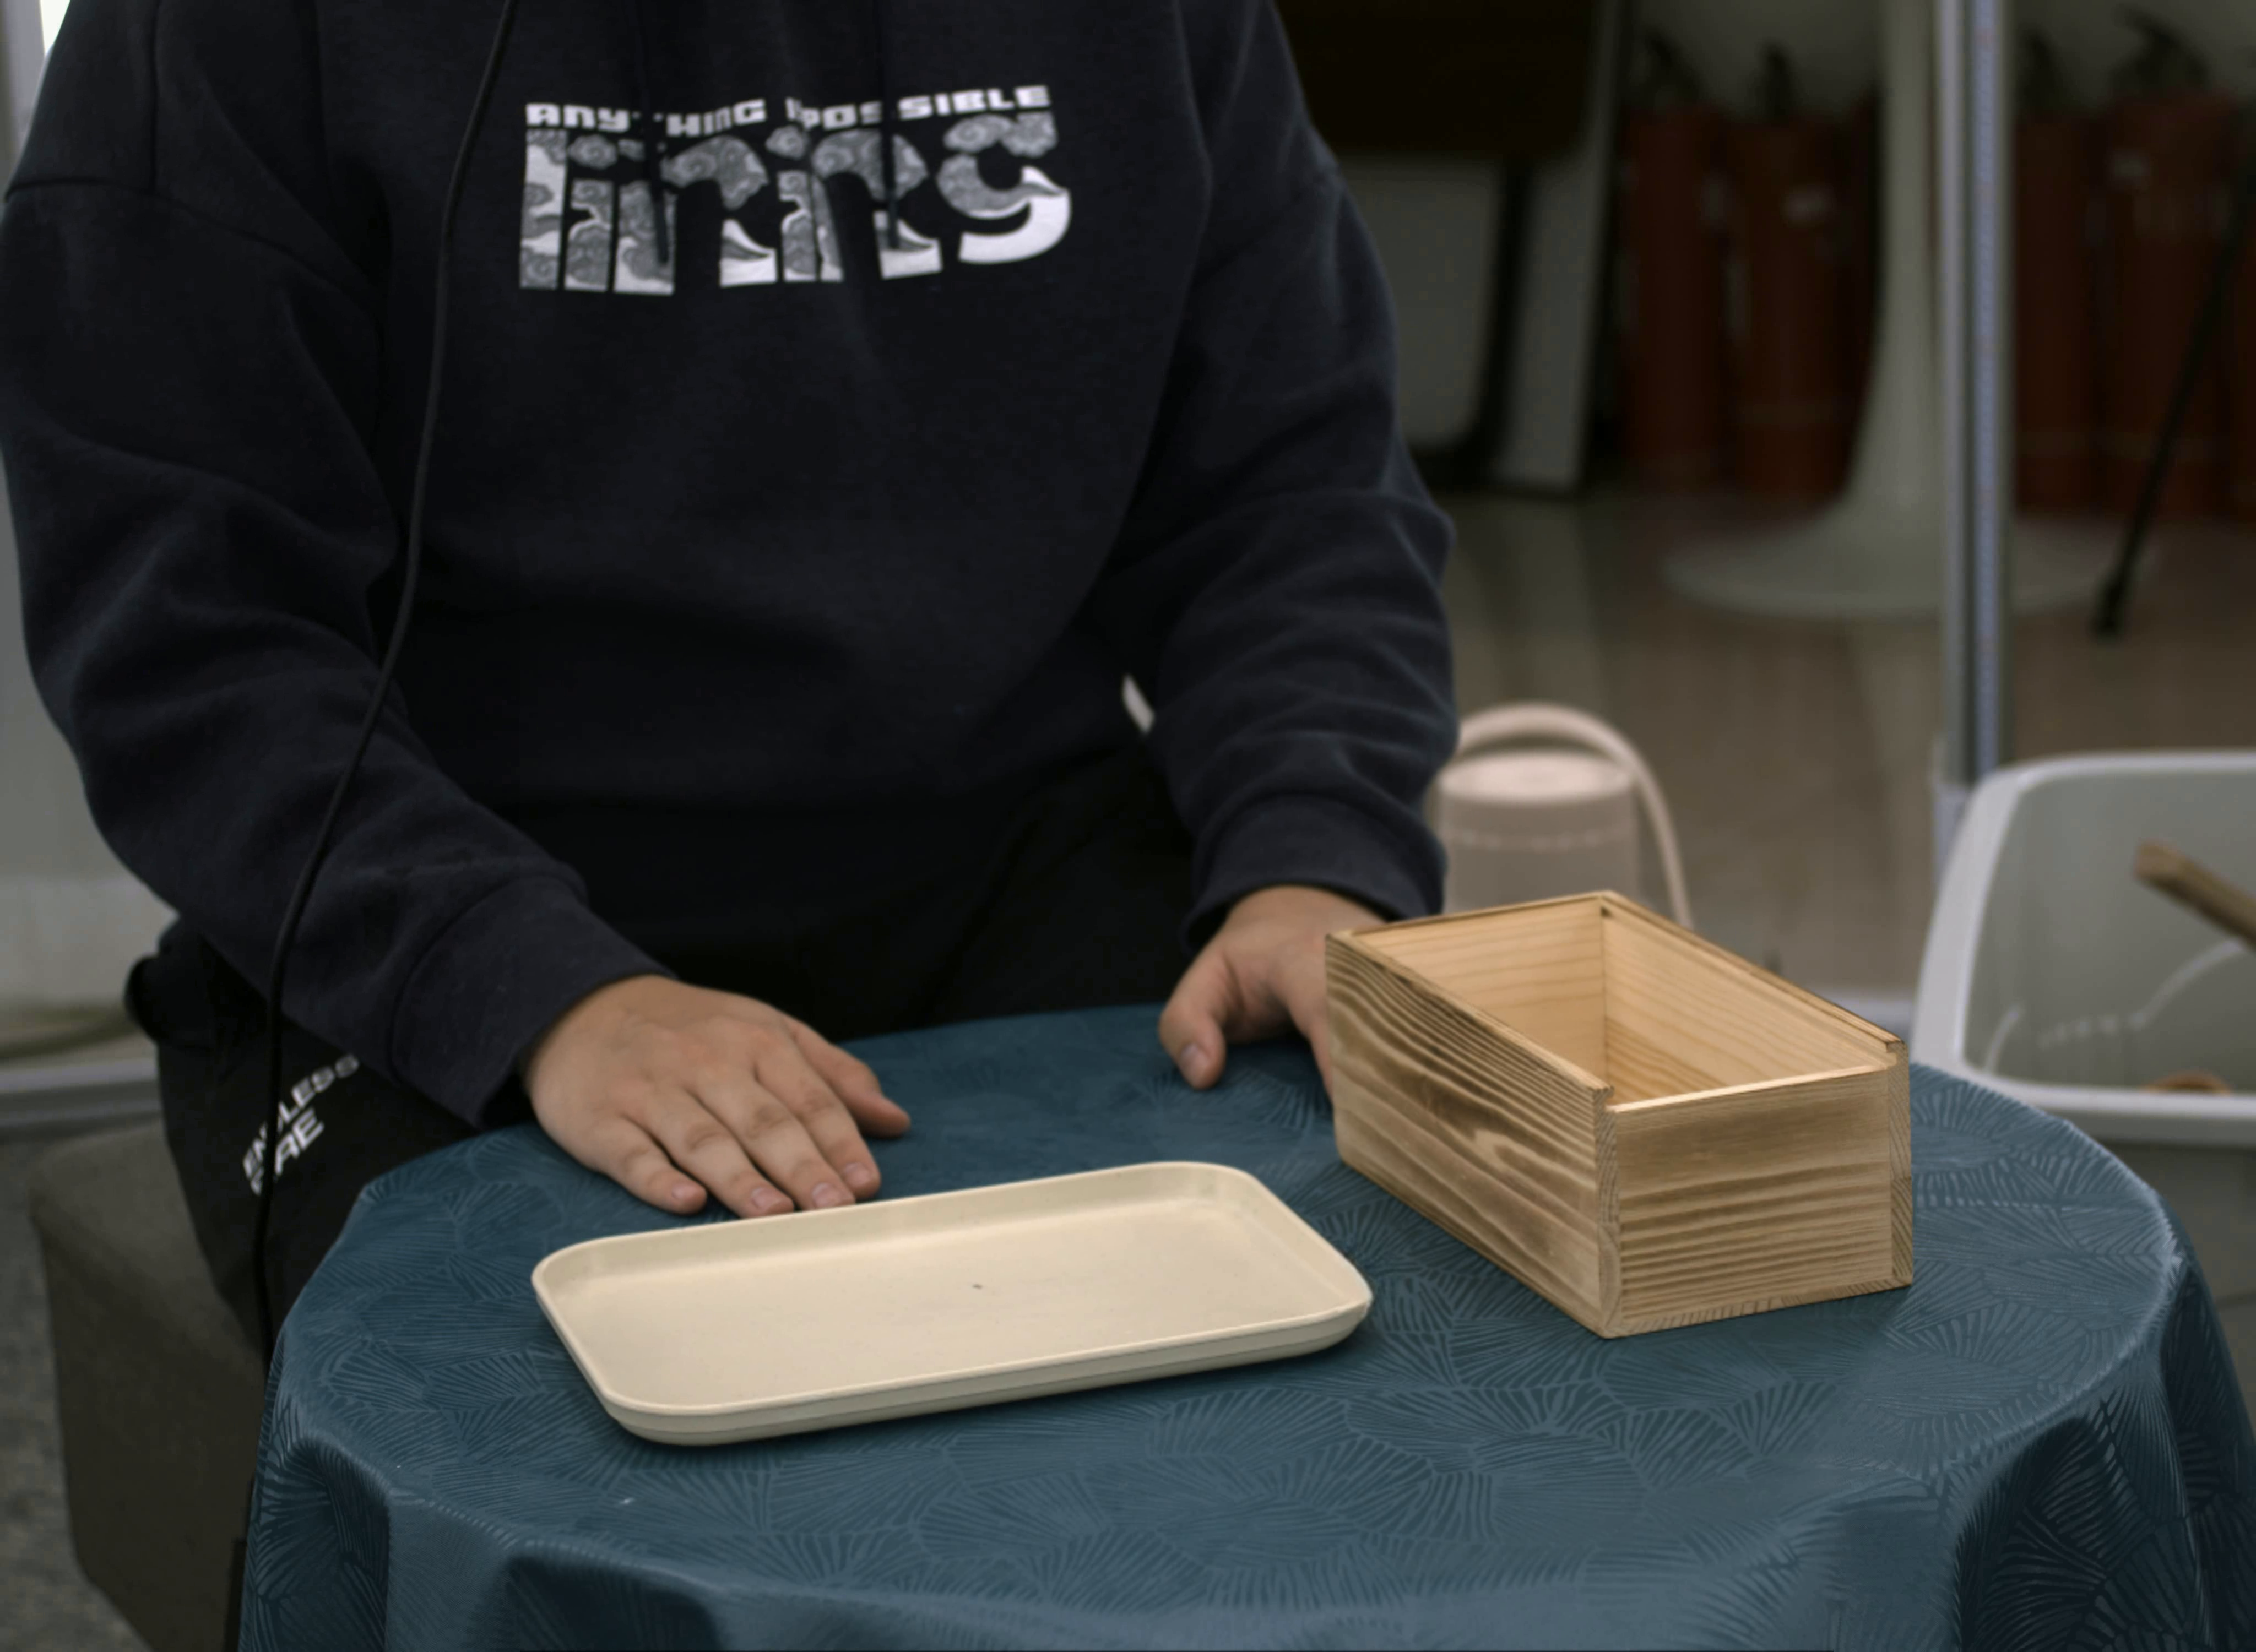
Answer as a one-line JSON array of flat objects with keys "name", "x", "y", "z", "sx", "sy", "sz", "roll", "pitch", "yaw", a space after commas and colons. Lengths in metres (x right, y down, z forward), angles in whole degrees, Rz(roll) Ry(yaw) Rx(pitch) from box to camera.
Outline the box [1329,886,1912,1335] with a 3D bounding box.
[{"name": "box", "x": 0.152, "y": 0.086, "z": 1.705, "sx": 0.105, "sy": 0.081, "sz": 0.213, "roll": -8, "pitch": 14, "yaw": -19}]

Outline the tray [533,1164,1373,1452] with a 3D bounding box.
[{"name": "tray", "x": -0.055, "y": 0.147, "z": 1.650, "sx": 0.235, "sy": 0.017, "sz": 0.172, "roll": -8, "pitch": 14, "yaw": -15}]
